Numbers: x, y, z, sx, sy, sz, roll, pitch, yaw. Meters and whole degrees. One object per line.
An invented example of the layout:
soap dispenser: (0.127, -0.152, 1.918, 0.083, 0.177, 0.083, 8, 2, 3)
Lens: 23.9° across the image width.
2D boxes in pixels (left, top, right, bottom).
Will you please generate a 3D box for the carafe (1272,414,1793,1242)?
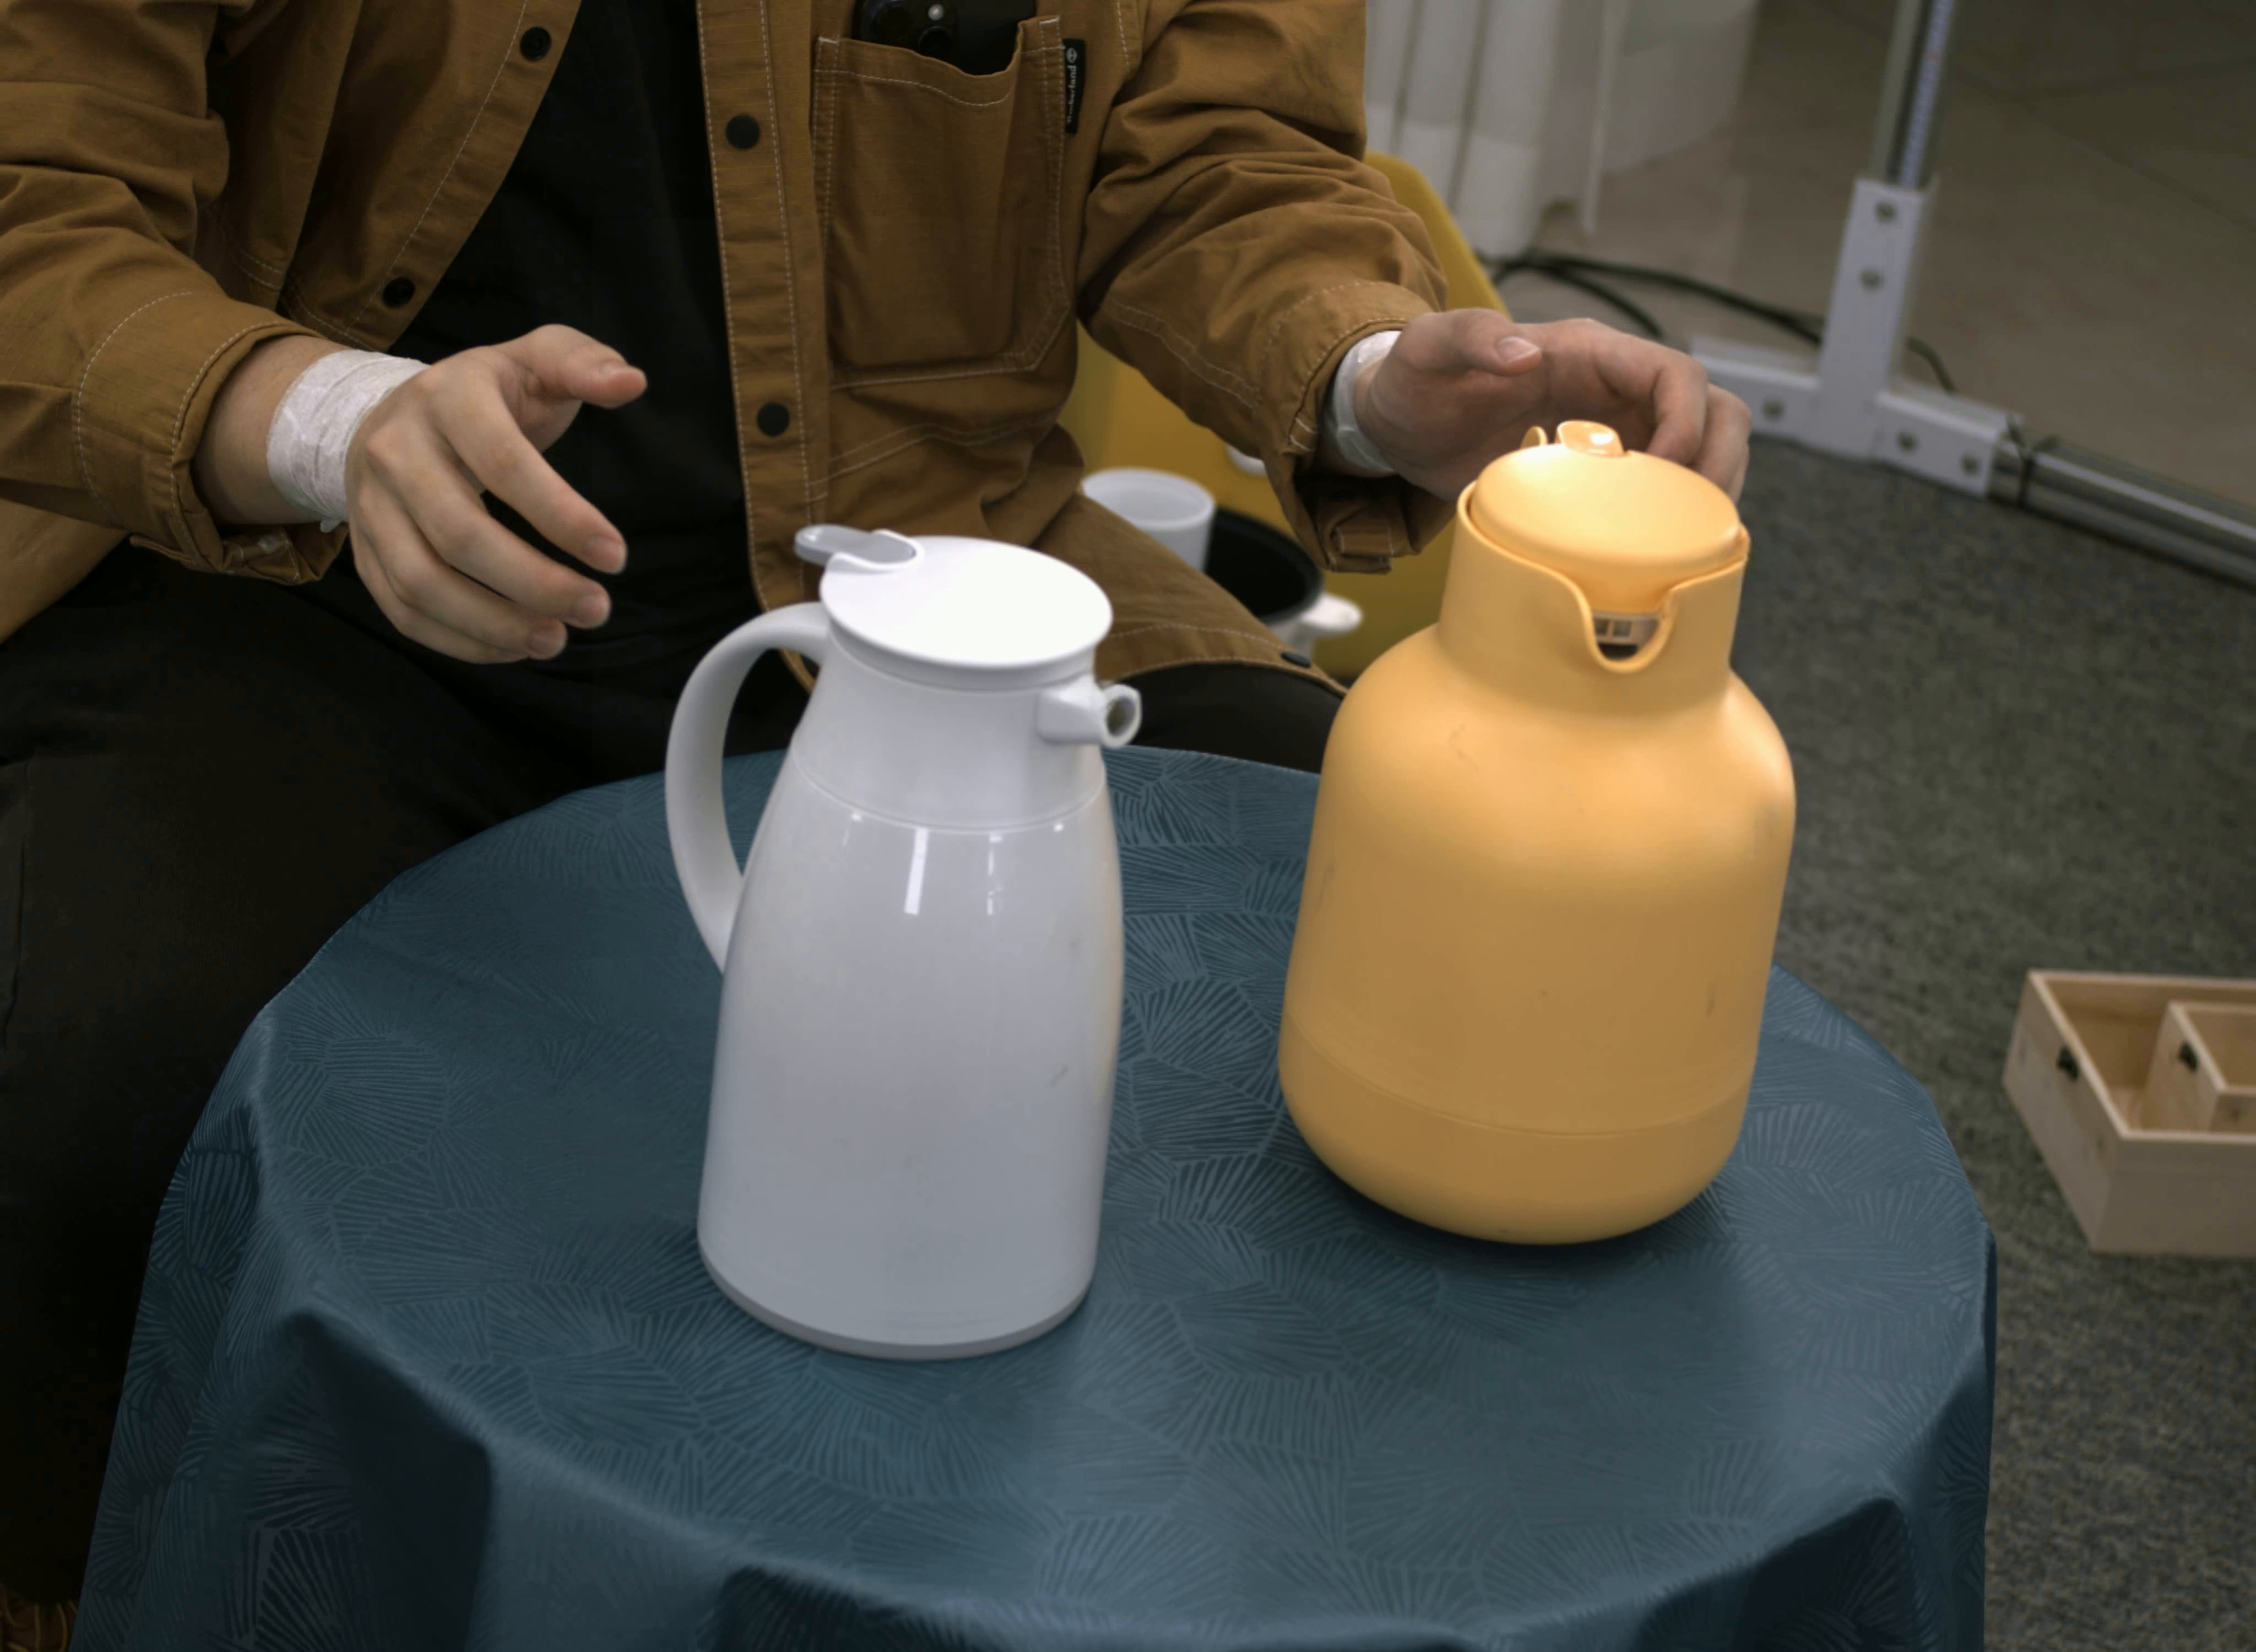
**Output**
carafe: (0.143, -0.008, 1.810, 0.163, 0.259, 0.203, 7, 28, -4)

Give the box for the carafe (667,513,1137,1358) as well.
carafe: (-0.079, 0.025, 1.707, 0.168, 0.248, 0.132, 21, 30, 28)
